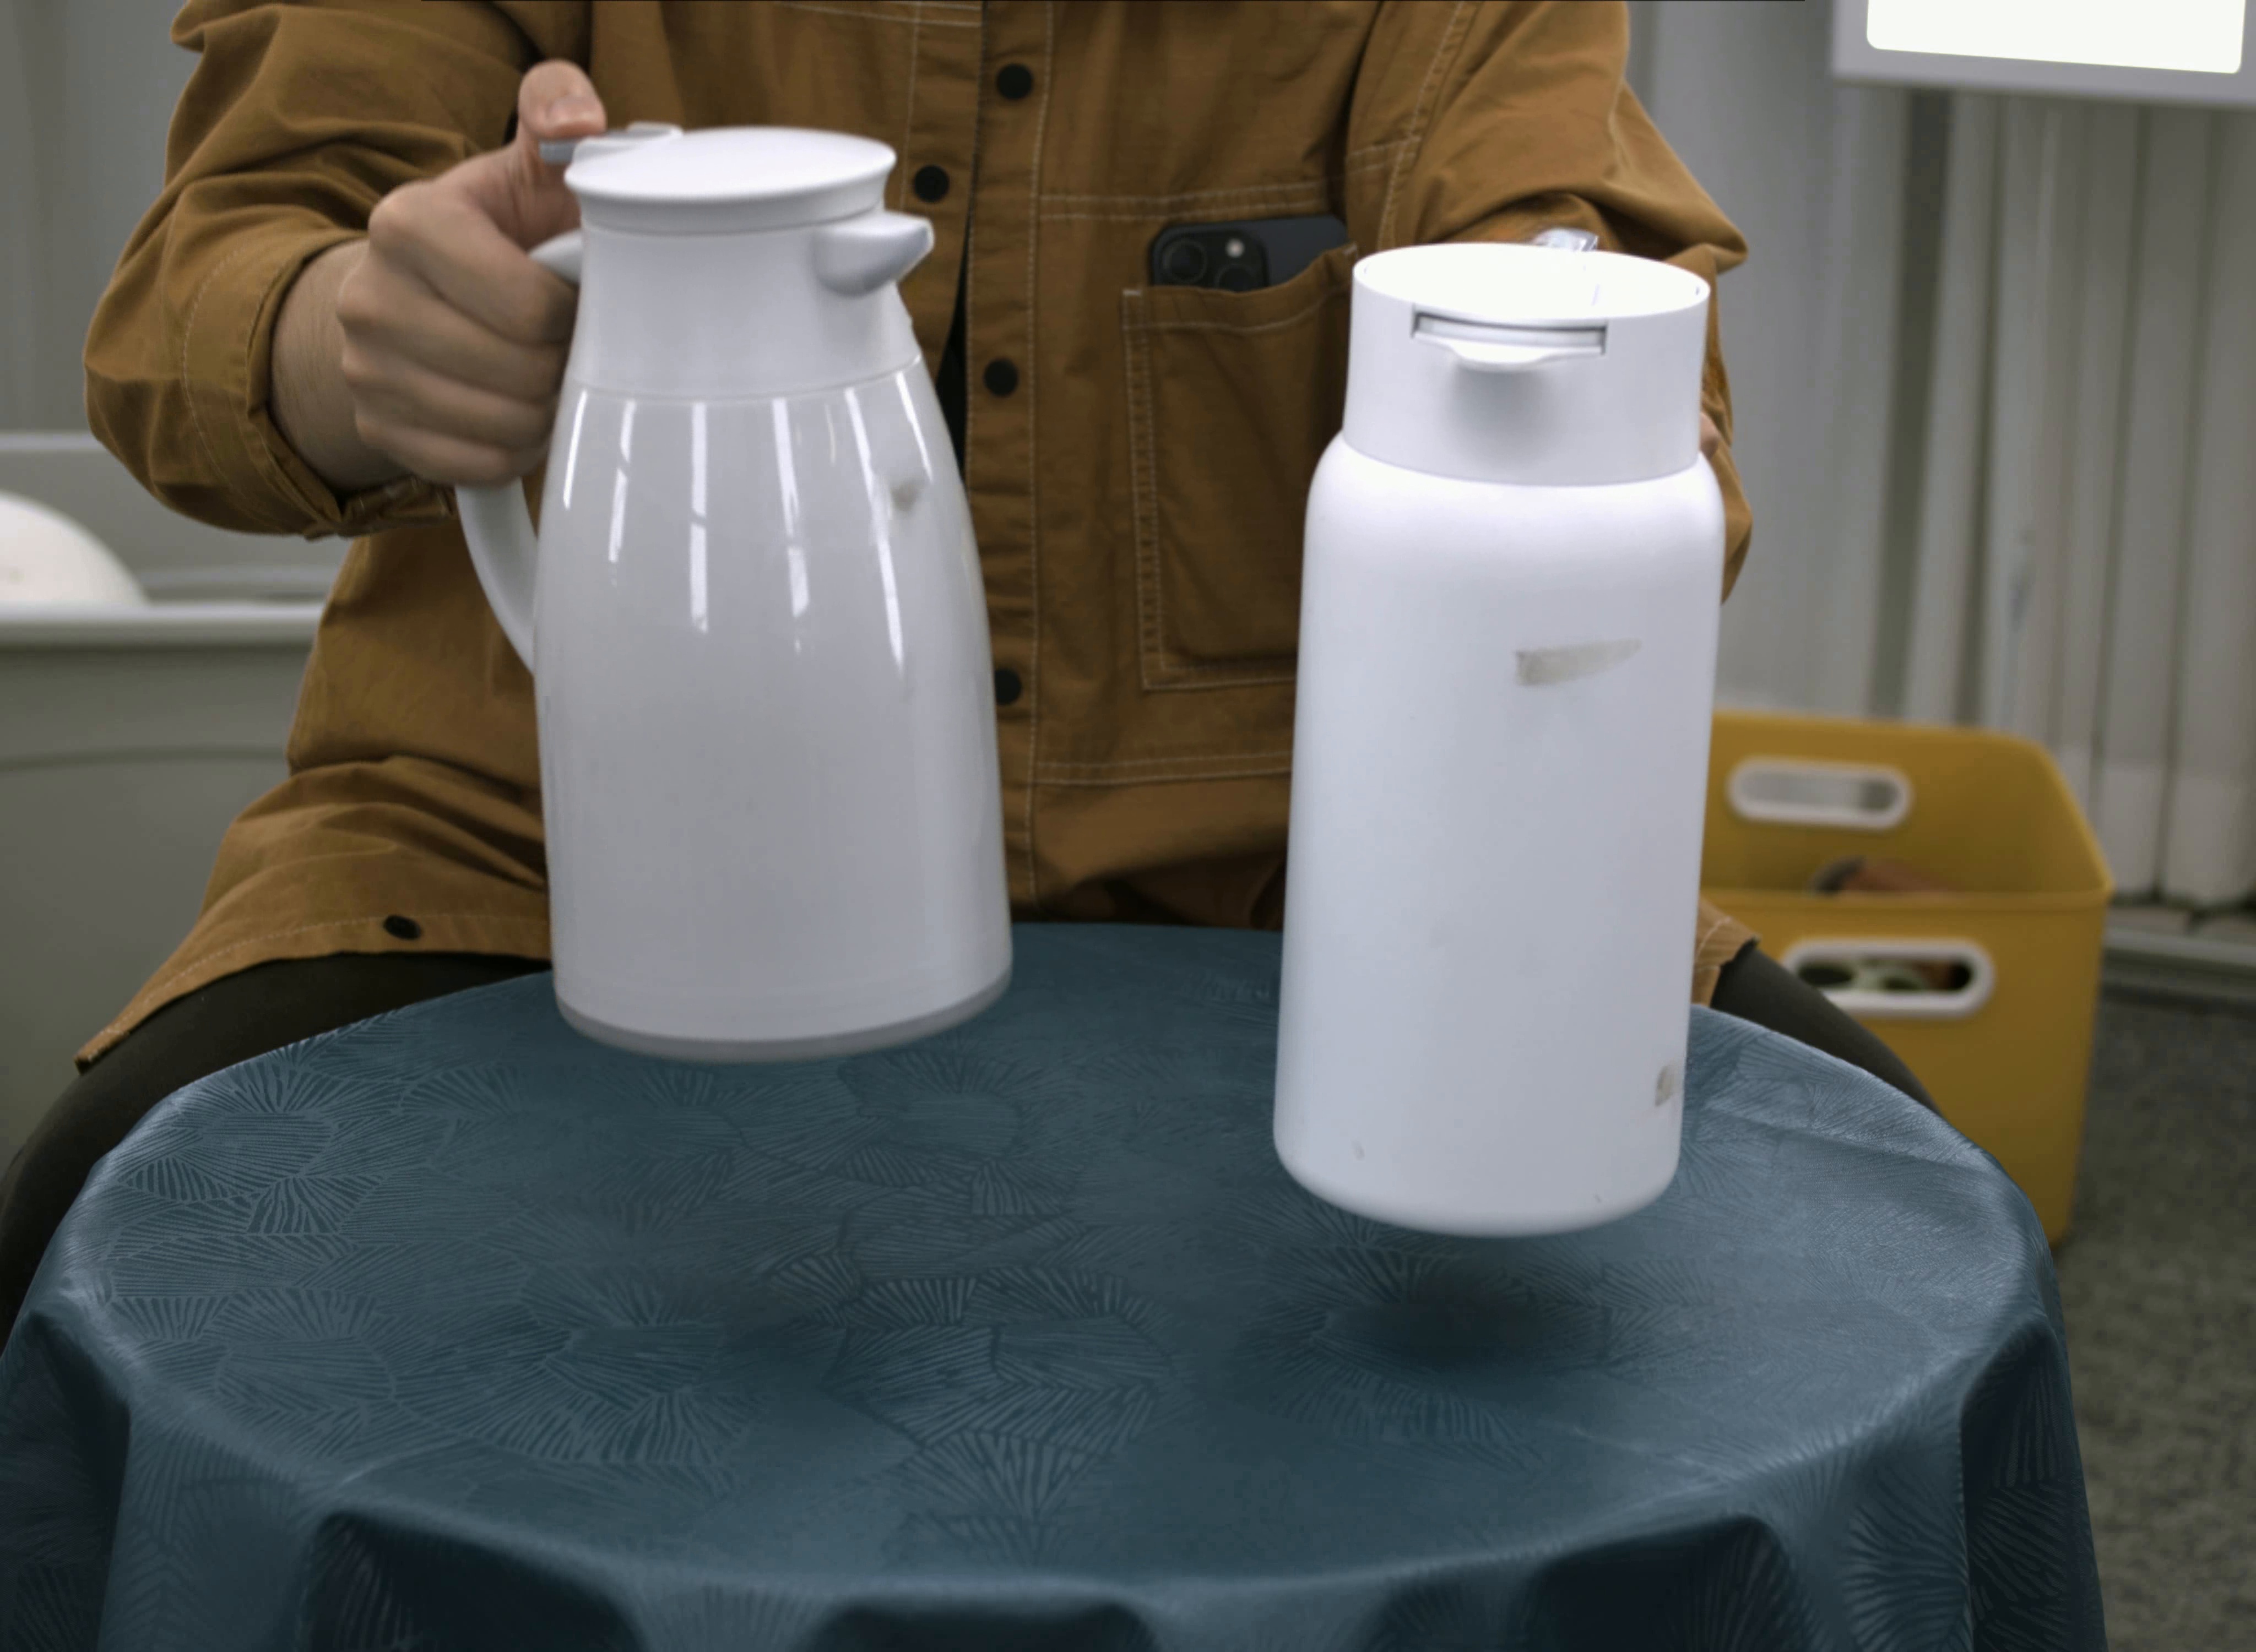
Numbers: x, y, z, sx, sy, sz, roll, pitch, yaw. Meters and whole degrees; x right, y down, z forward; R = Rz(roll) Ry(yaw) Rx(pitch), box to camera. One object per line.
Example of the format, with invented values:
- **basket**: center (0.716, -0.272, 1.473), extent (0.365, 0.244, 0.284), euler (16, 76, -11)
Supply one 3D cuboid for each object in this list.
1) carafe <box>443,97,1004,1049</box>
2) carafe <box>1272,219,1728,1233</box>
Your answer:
- **carafe**: center (-0.121, -0.078, 1.476), extent (0.165, 0.251, 0.133), euler (8, 20, 32)
- **carafe**: center (0.107, -0.033, 1.490), extent (0.123, 0.271, 0.172), euler (4, 17, 10)
